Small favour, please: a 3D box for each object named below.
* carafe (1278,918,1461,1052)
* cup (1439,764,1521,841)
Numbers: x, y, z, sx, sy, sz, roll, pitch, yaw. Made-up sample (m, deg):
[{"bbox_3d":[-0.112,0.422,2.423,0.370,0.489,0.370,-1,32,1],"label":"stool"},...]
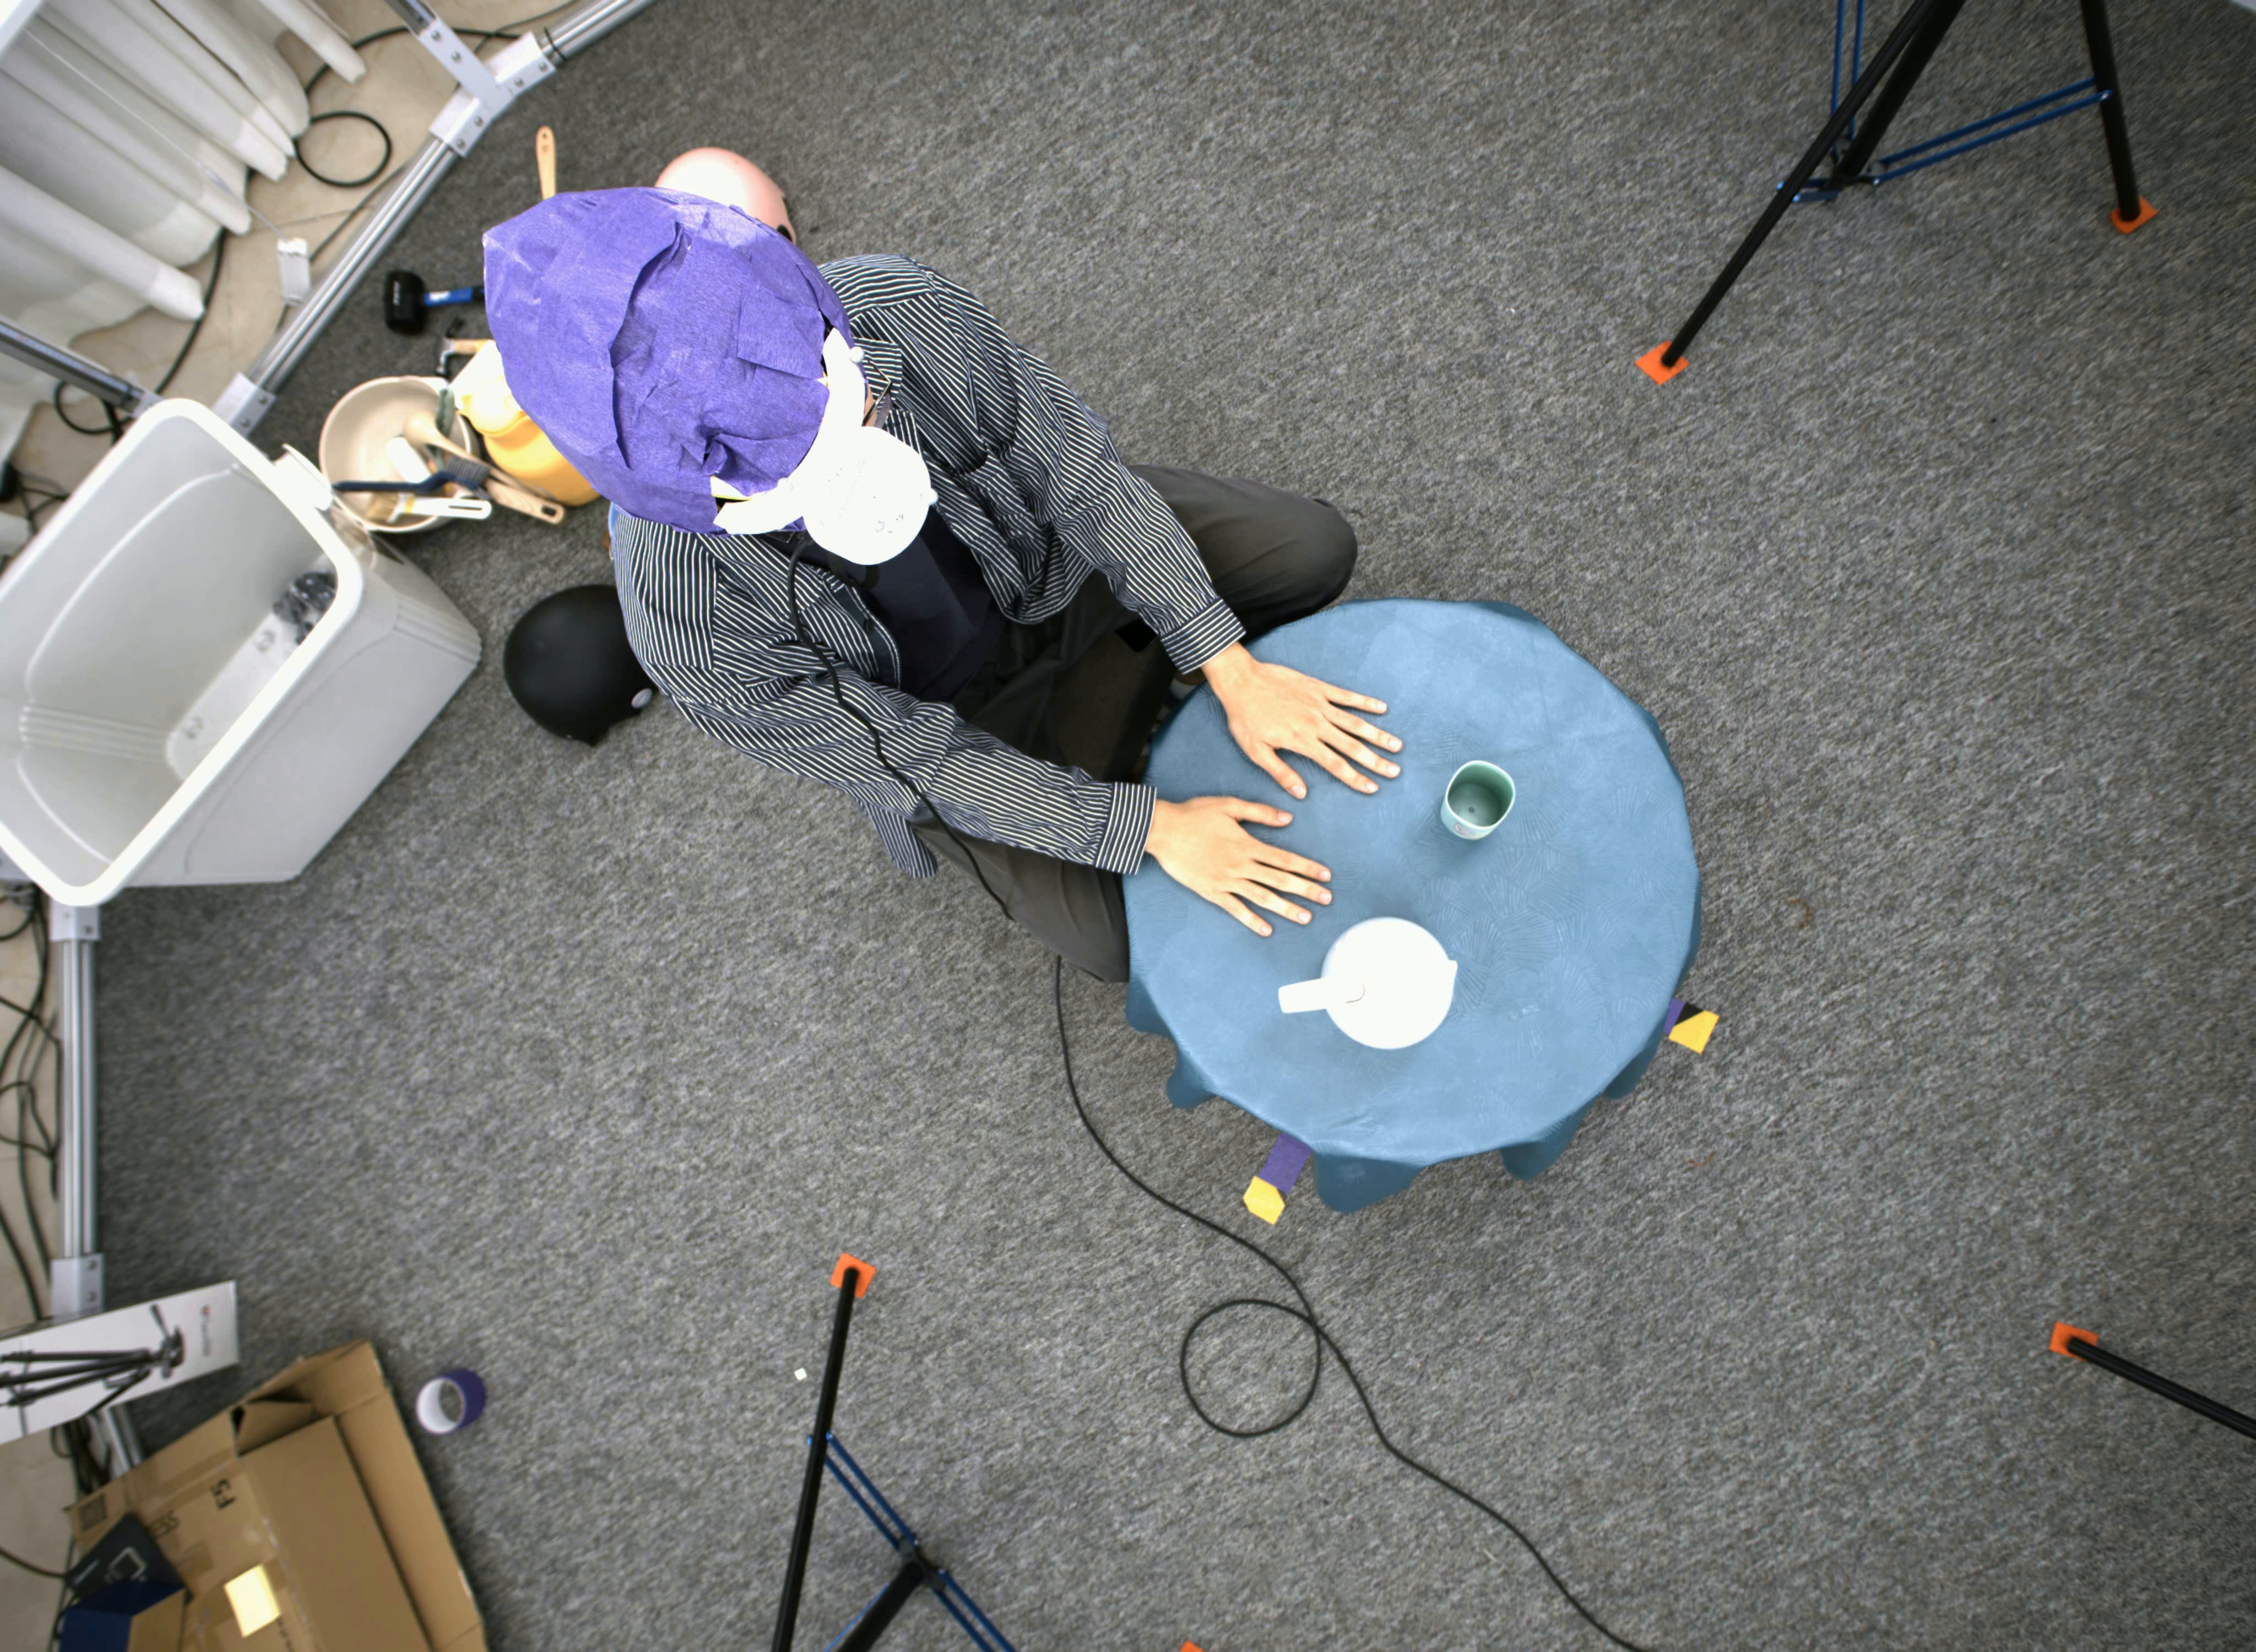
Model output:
[{"bbox_3d":[0.229,0.157,1.323,0.168,0.248,0.132,-13,84,9],"label":"carafe"},{"bbox_3d":[0.348,-0.024,1.374,0.067,0.132,0.066,0,86,7],"label":"cup"}]
